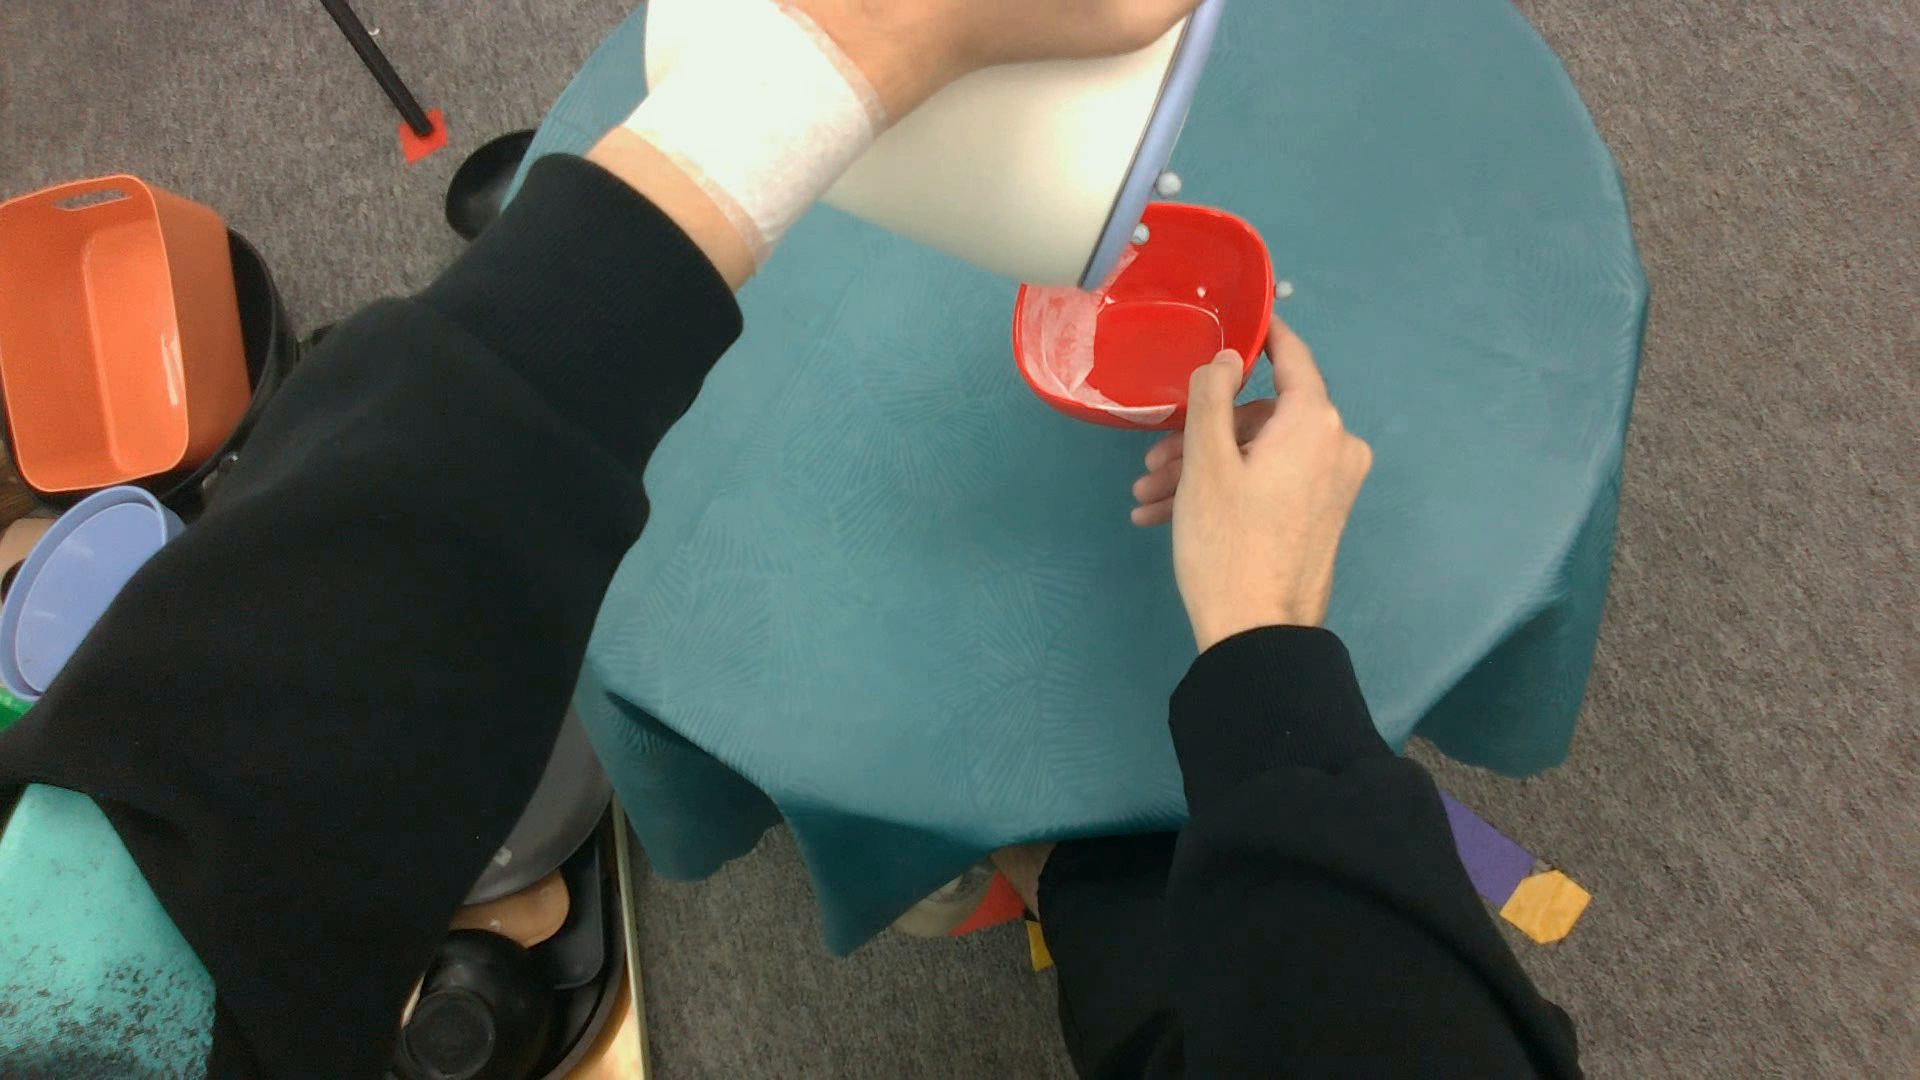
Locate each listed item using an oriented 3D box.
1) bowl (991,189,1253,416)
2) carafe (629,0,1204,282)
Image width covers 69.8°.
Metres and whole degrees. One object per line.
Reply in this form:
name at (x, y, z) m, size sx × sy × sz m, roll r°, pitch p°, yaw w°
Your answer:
bowl at (0.073, -0.096, 0.608) m, size 0.119 × 0.051 × 0.119 m, roll -5°, pitch 60°, yaw 8°
carafe at (-0.012, -0.185, 0.472) m, size 0.182 × 0.190 × 0.132 m, roll 21°, pitch 76°, yaw 1°
